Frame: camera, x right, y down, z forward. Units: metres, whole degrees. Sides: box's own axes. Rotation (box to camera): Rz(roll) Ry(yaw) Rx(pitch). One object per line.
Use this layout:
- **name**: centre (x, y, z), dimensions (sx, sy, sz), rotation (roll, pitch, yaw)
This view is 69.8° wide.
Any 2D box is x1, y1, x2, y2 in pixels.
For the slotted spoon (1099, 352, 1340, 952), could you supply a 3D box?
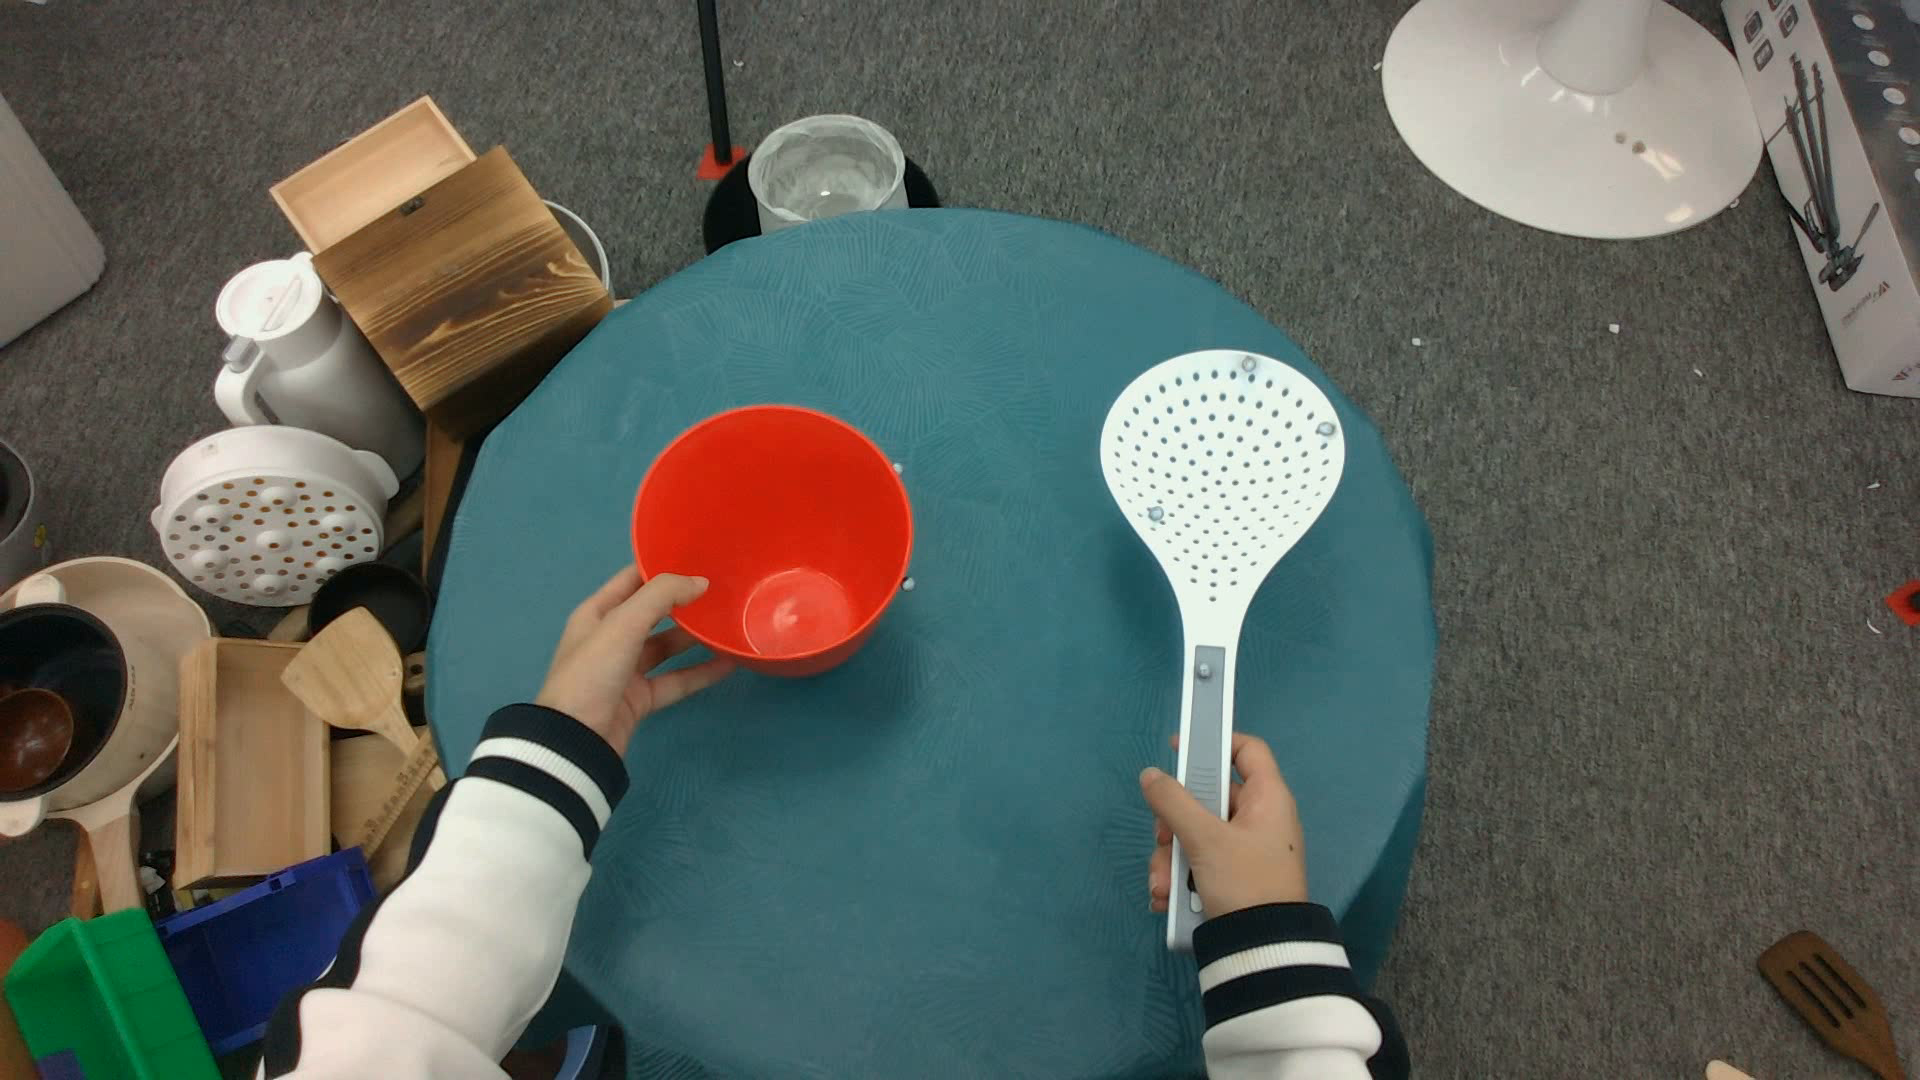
- **slotted spoon**: centre (0.133, 0.043, 0.739), dimensions (0.136, 0.045, 0.351), rotation (3, 55, 10)

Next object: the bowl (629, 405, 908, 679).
- **bowl**: centre (-0.103, 0.014, 0.767), dimensions (0.148, 0.104, 0.148), rotation (2, 57, -3)
